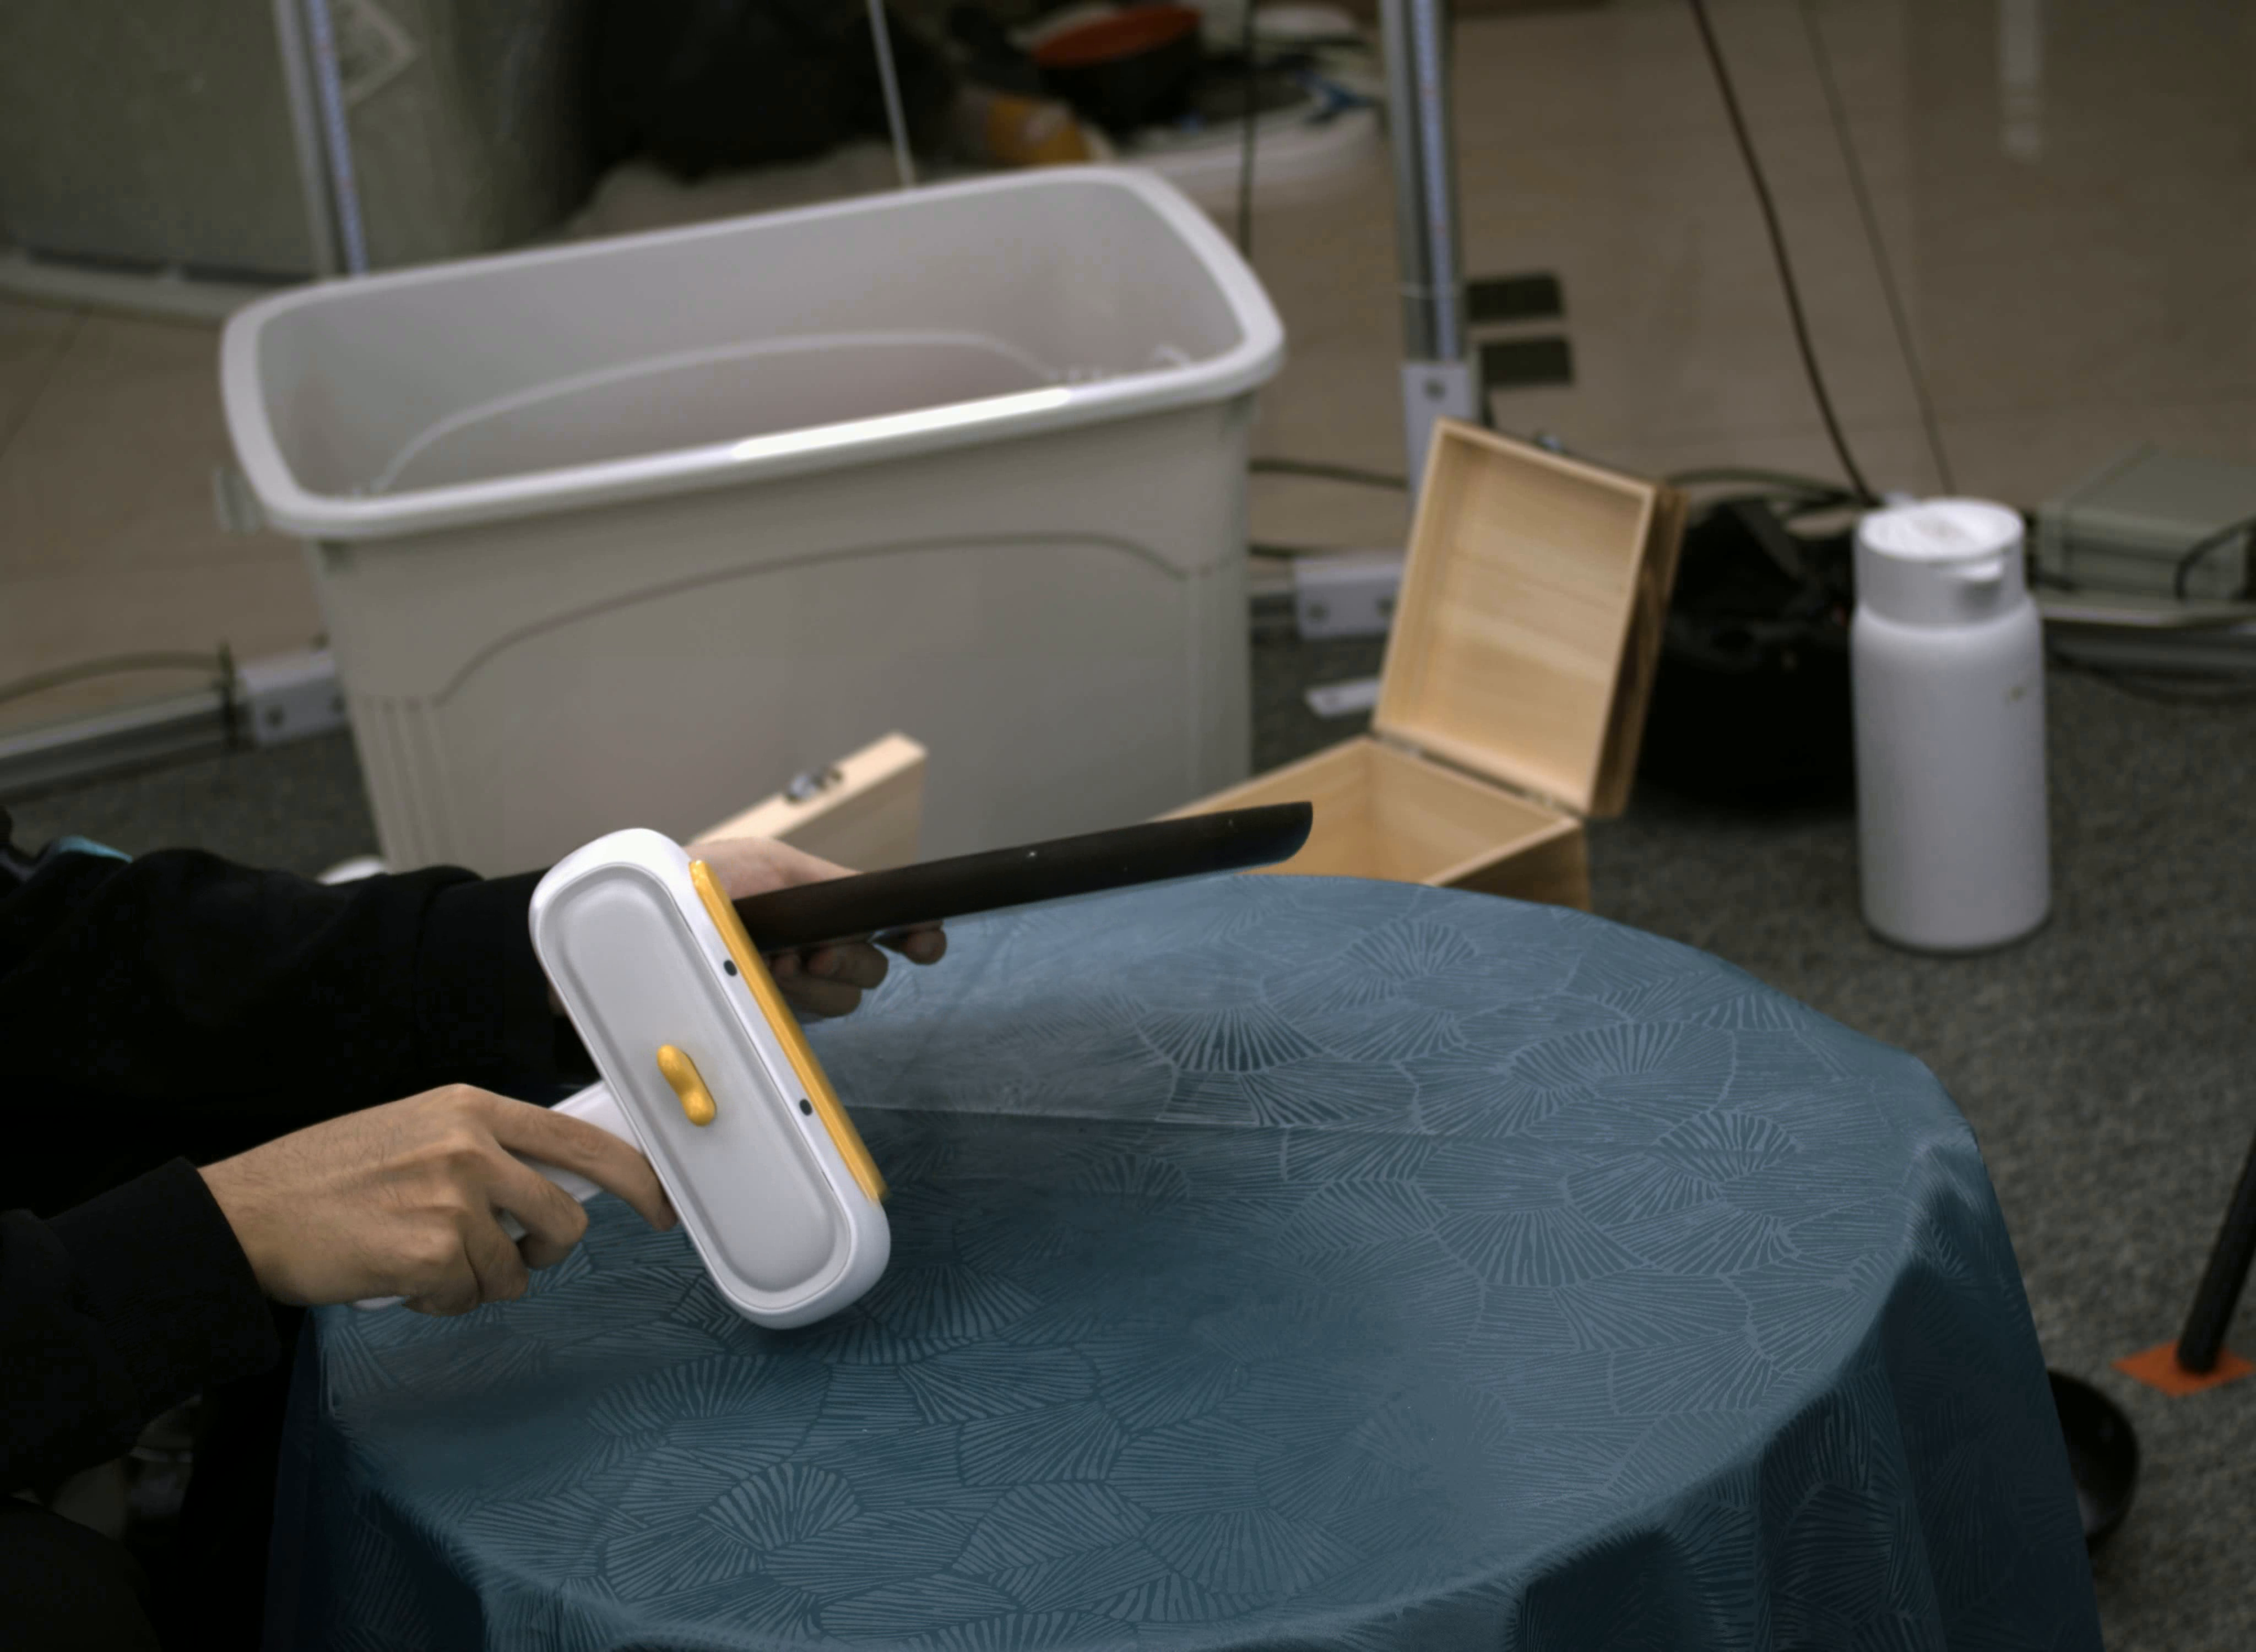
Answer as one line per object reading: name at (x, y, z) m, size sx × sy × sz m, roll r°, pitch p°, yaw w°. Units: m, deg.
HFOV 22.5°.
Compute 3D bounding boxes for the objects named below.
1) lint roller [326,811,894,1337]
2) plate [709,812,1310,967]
lint roller at (-0.203, 0.117, 2.052) m, size 0.192 × 0.193 × 0.074 m, roll -33°, pitch 6°, yaw 3°
plate at (-0.054, 0.024, 2.152) m, size 0.254 × 0.029 × 0.254 m, roll -11°, pitch 0°, yaw 0°
